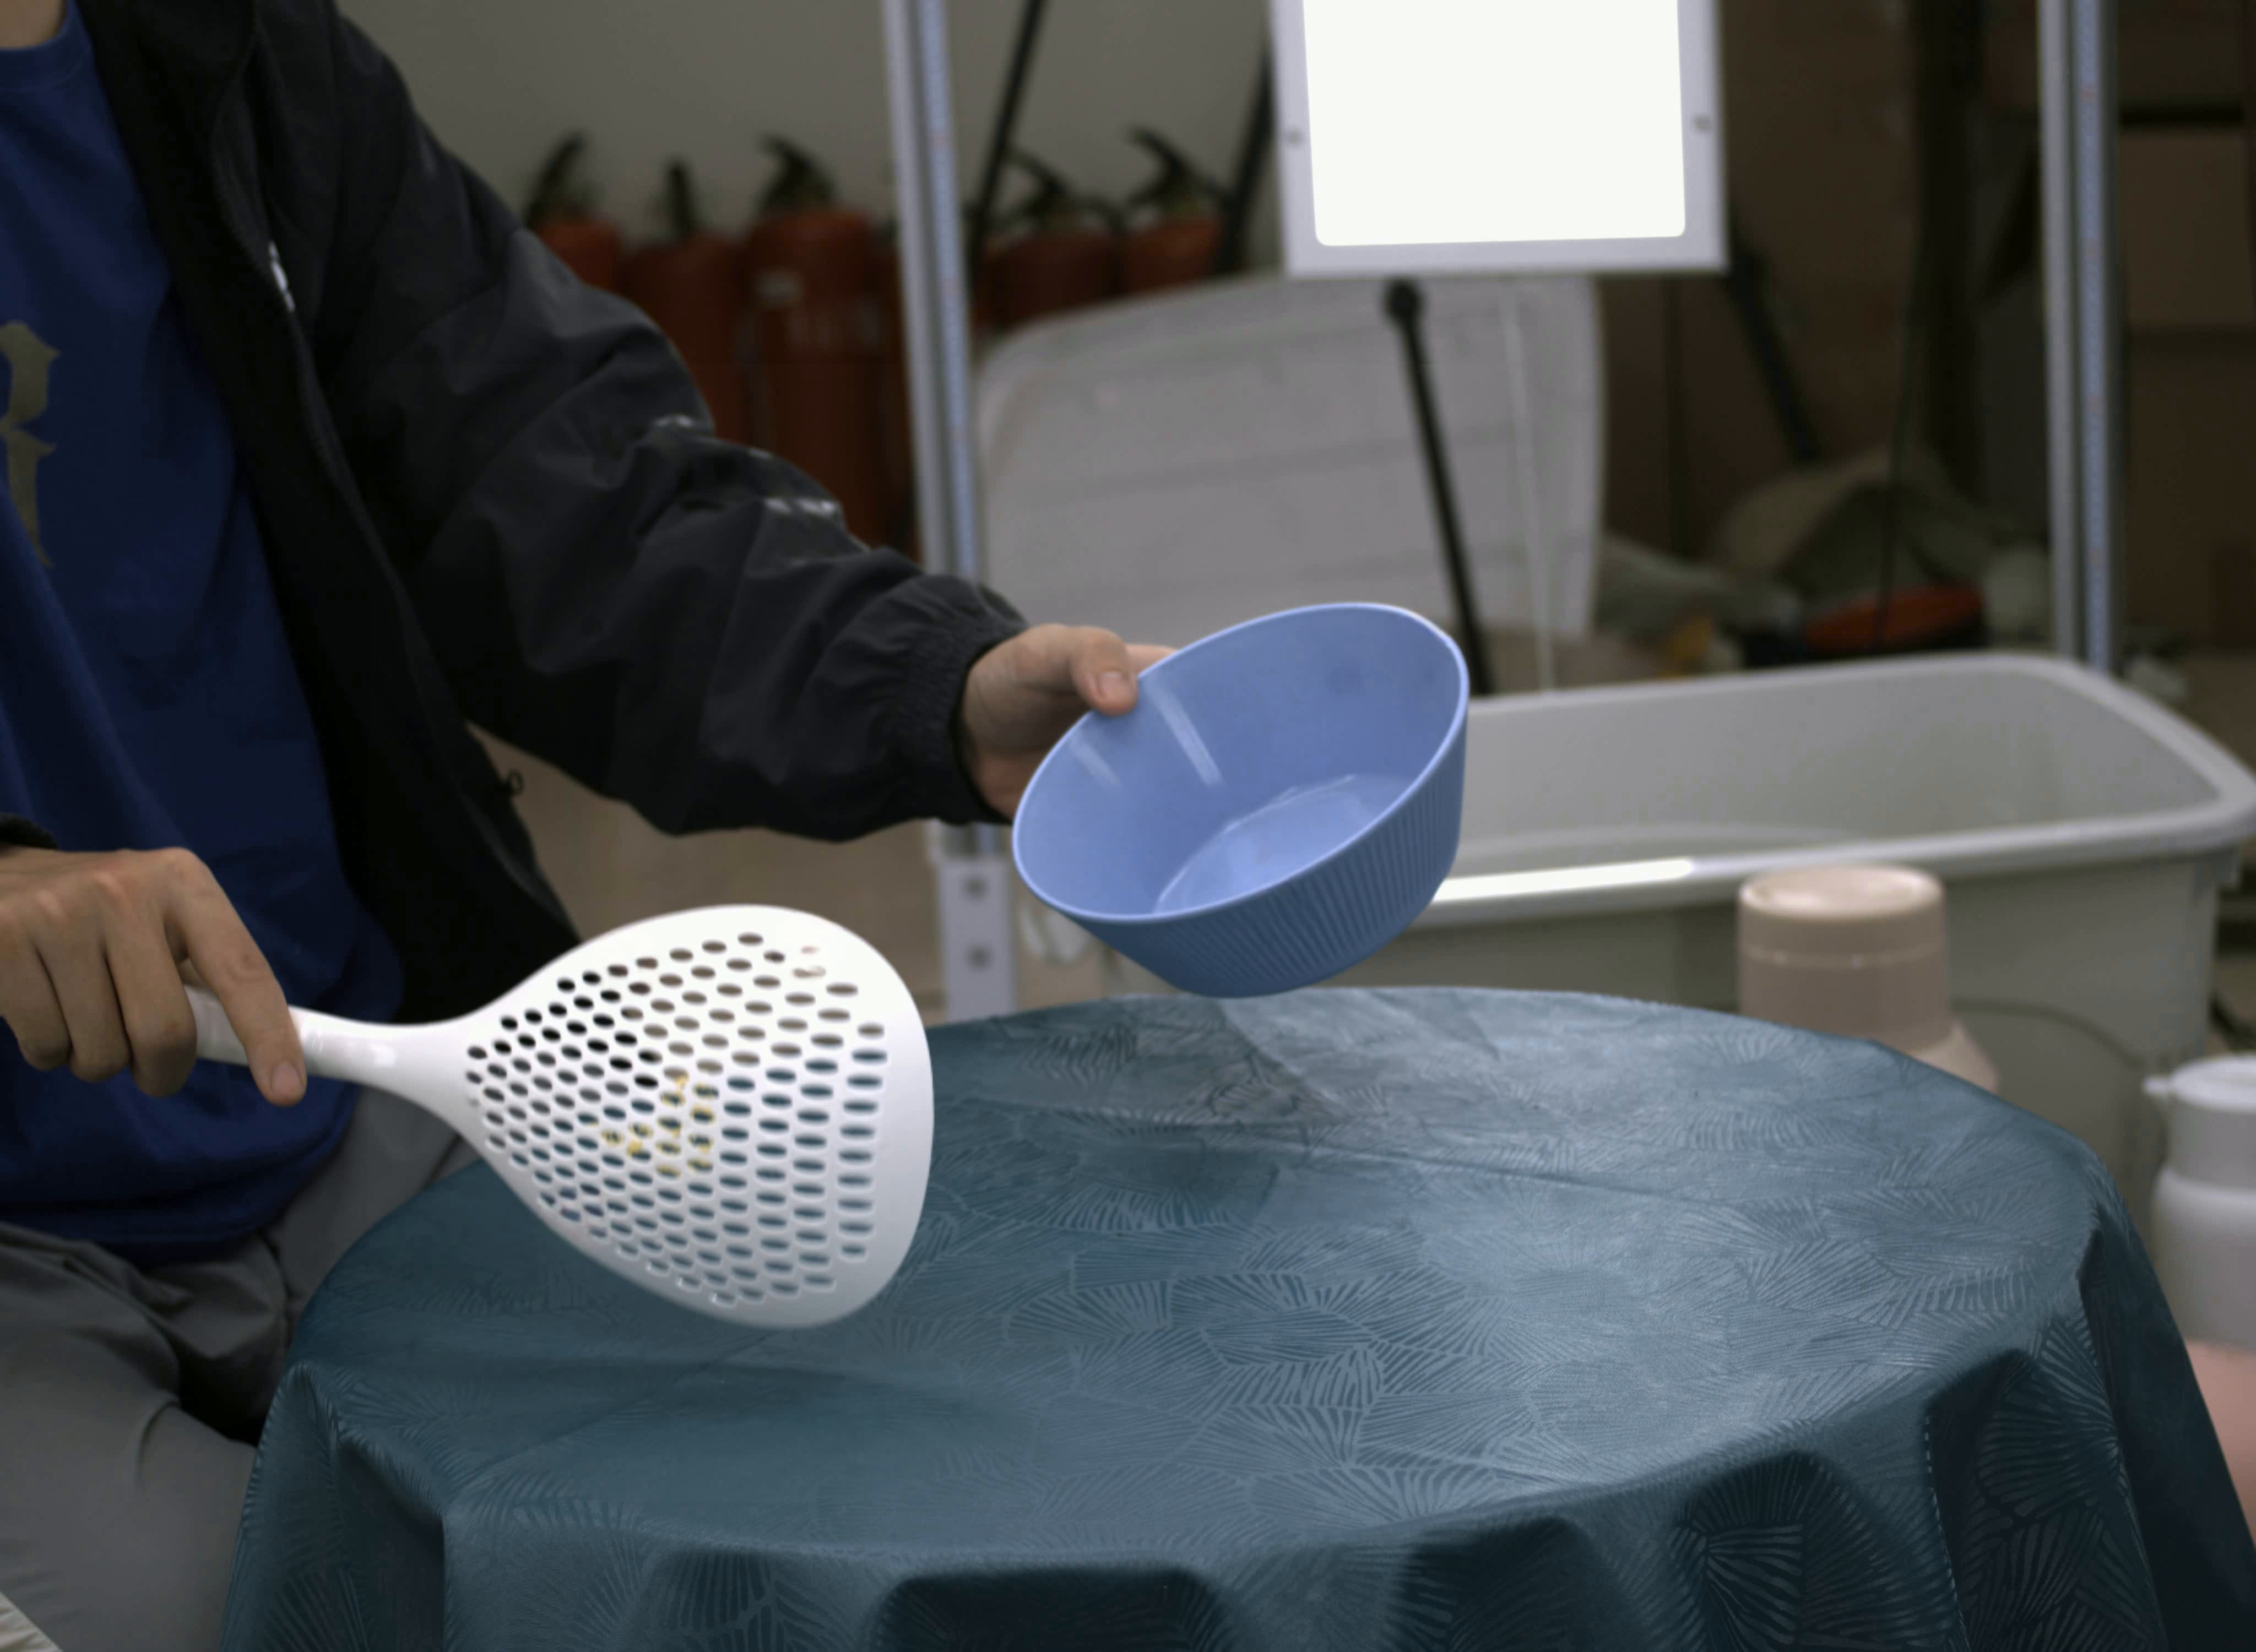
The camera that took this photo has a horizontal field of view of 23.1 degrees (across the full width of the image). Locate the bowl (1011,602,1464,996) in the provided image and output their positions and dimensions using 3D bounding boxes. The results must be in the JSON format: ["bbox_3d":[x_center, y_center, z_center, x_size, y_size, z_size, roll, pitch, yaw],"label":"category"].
[{"bbox_3d":[0.050,-0.001,1.961,0.177,0.070,0.175,-22,31,12],"label":"bowl"}]

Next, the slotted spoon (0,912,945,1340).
[{"bbox_3d":[-0.222,0.079,1.789,0.353,0.137,0.049,10,11,27],"label":"slotted spoon"}]
